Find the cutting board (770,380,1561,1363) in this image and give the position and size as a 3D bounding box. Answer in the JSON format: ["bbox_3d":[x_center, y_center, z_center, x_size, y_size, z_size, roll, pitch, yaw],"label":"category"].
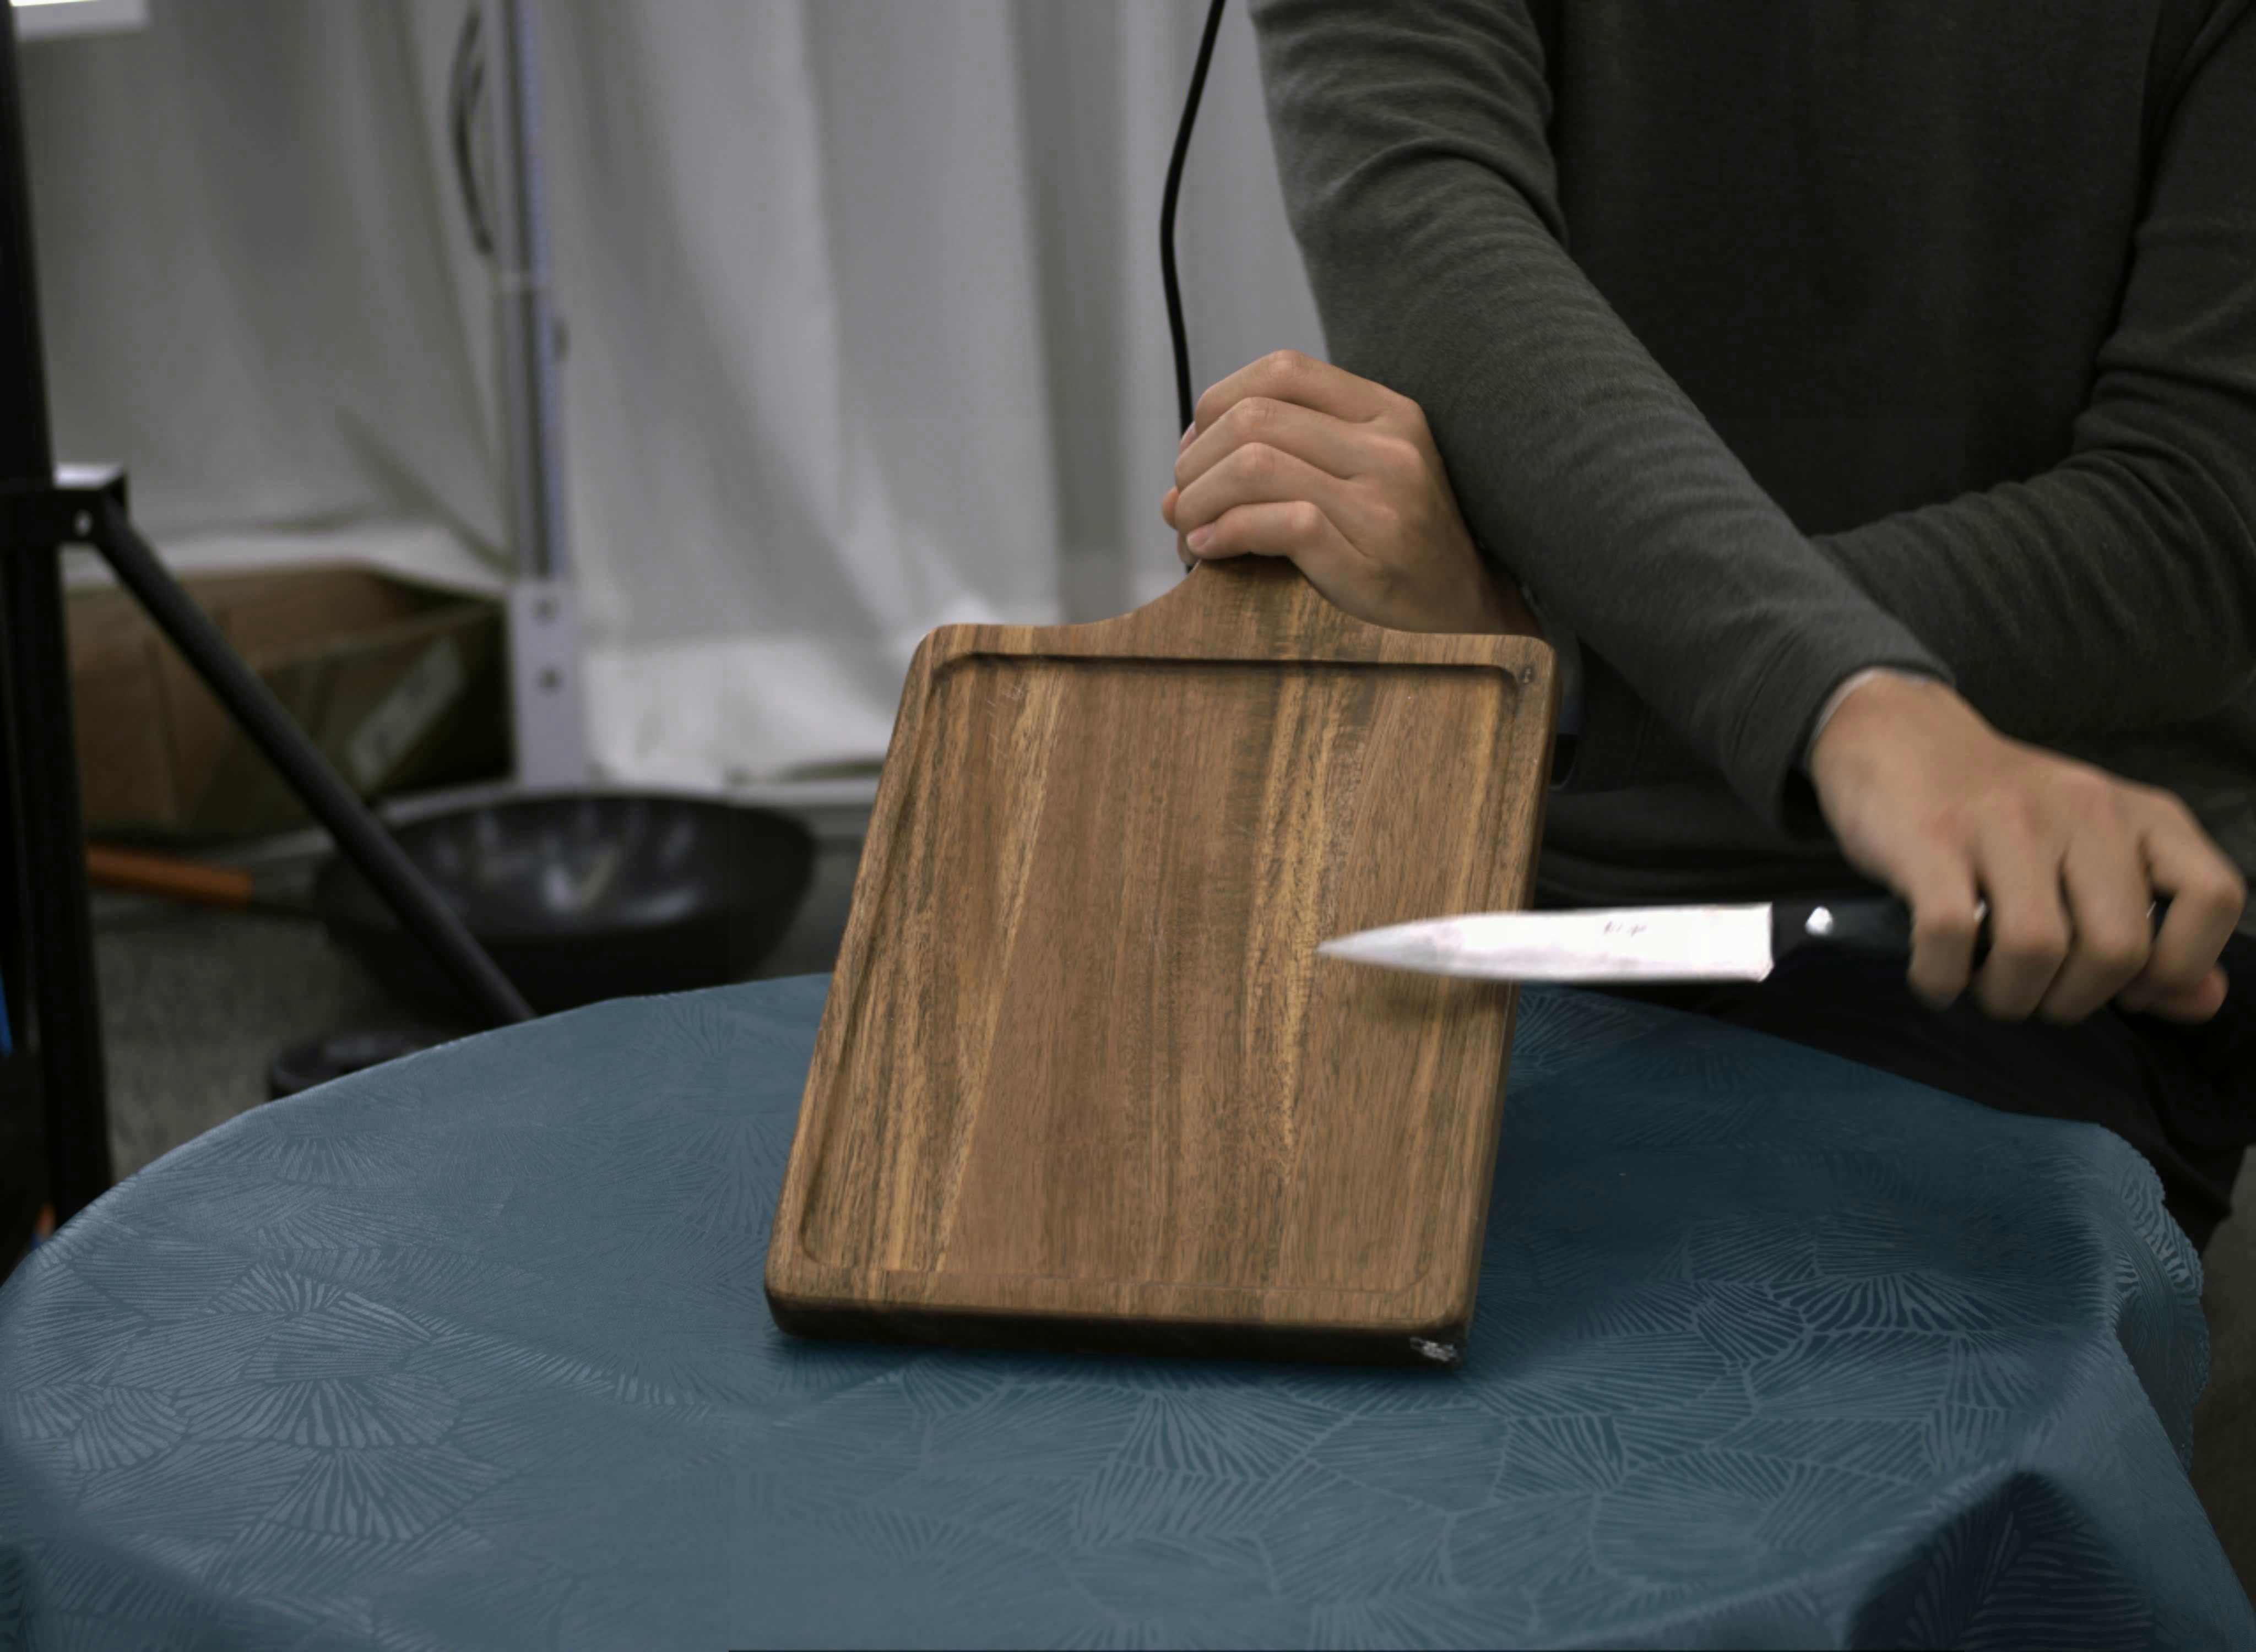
[{"bbox_3d":[0.022,0.004,1.540,0.202,0.023,0.354,0,50,14],"label":"cutting board"}]

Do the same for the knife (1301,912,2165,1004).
[{"bbox_3d":[0.166,0.037,1.454,0.239,0.016,0.024,-2,55,10],"label":"knife"}]
